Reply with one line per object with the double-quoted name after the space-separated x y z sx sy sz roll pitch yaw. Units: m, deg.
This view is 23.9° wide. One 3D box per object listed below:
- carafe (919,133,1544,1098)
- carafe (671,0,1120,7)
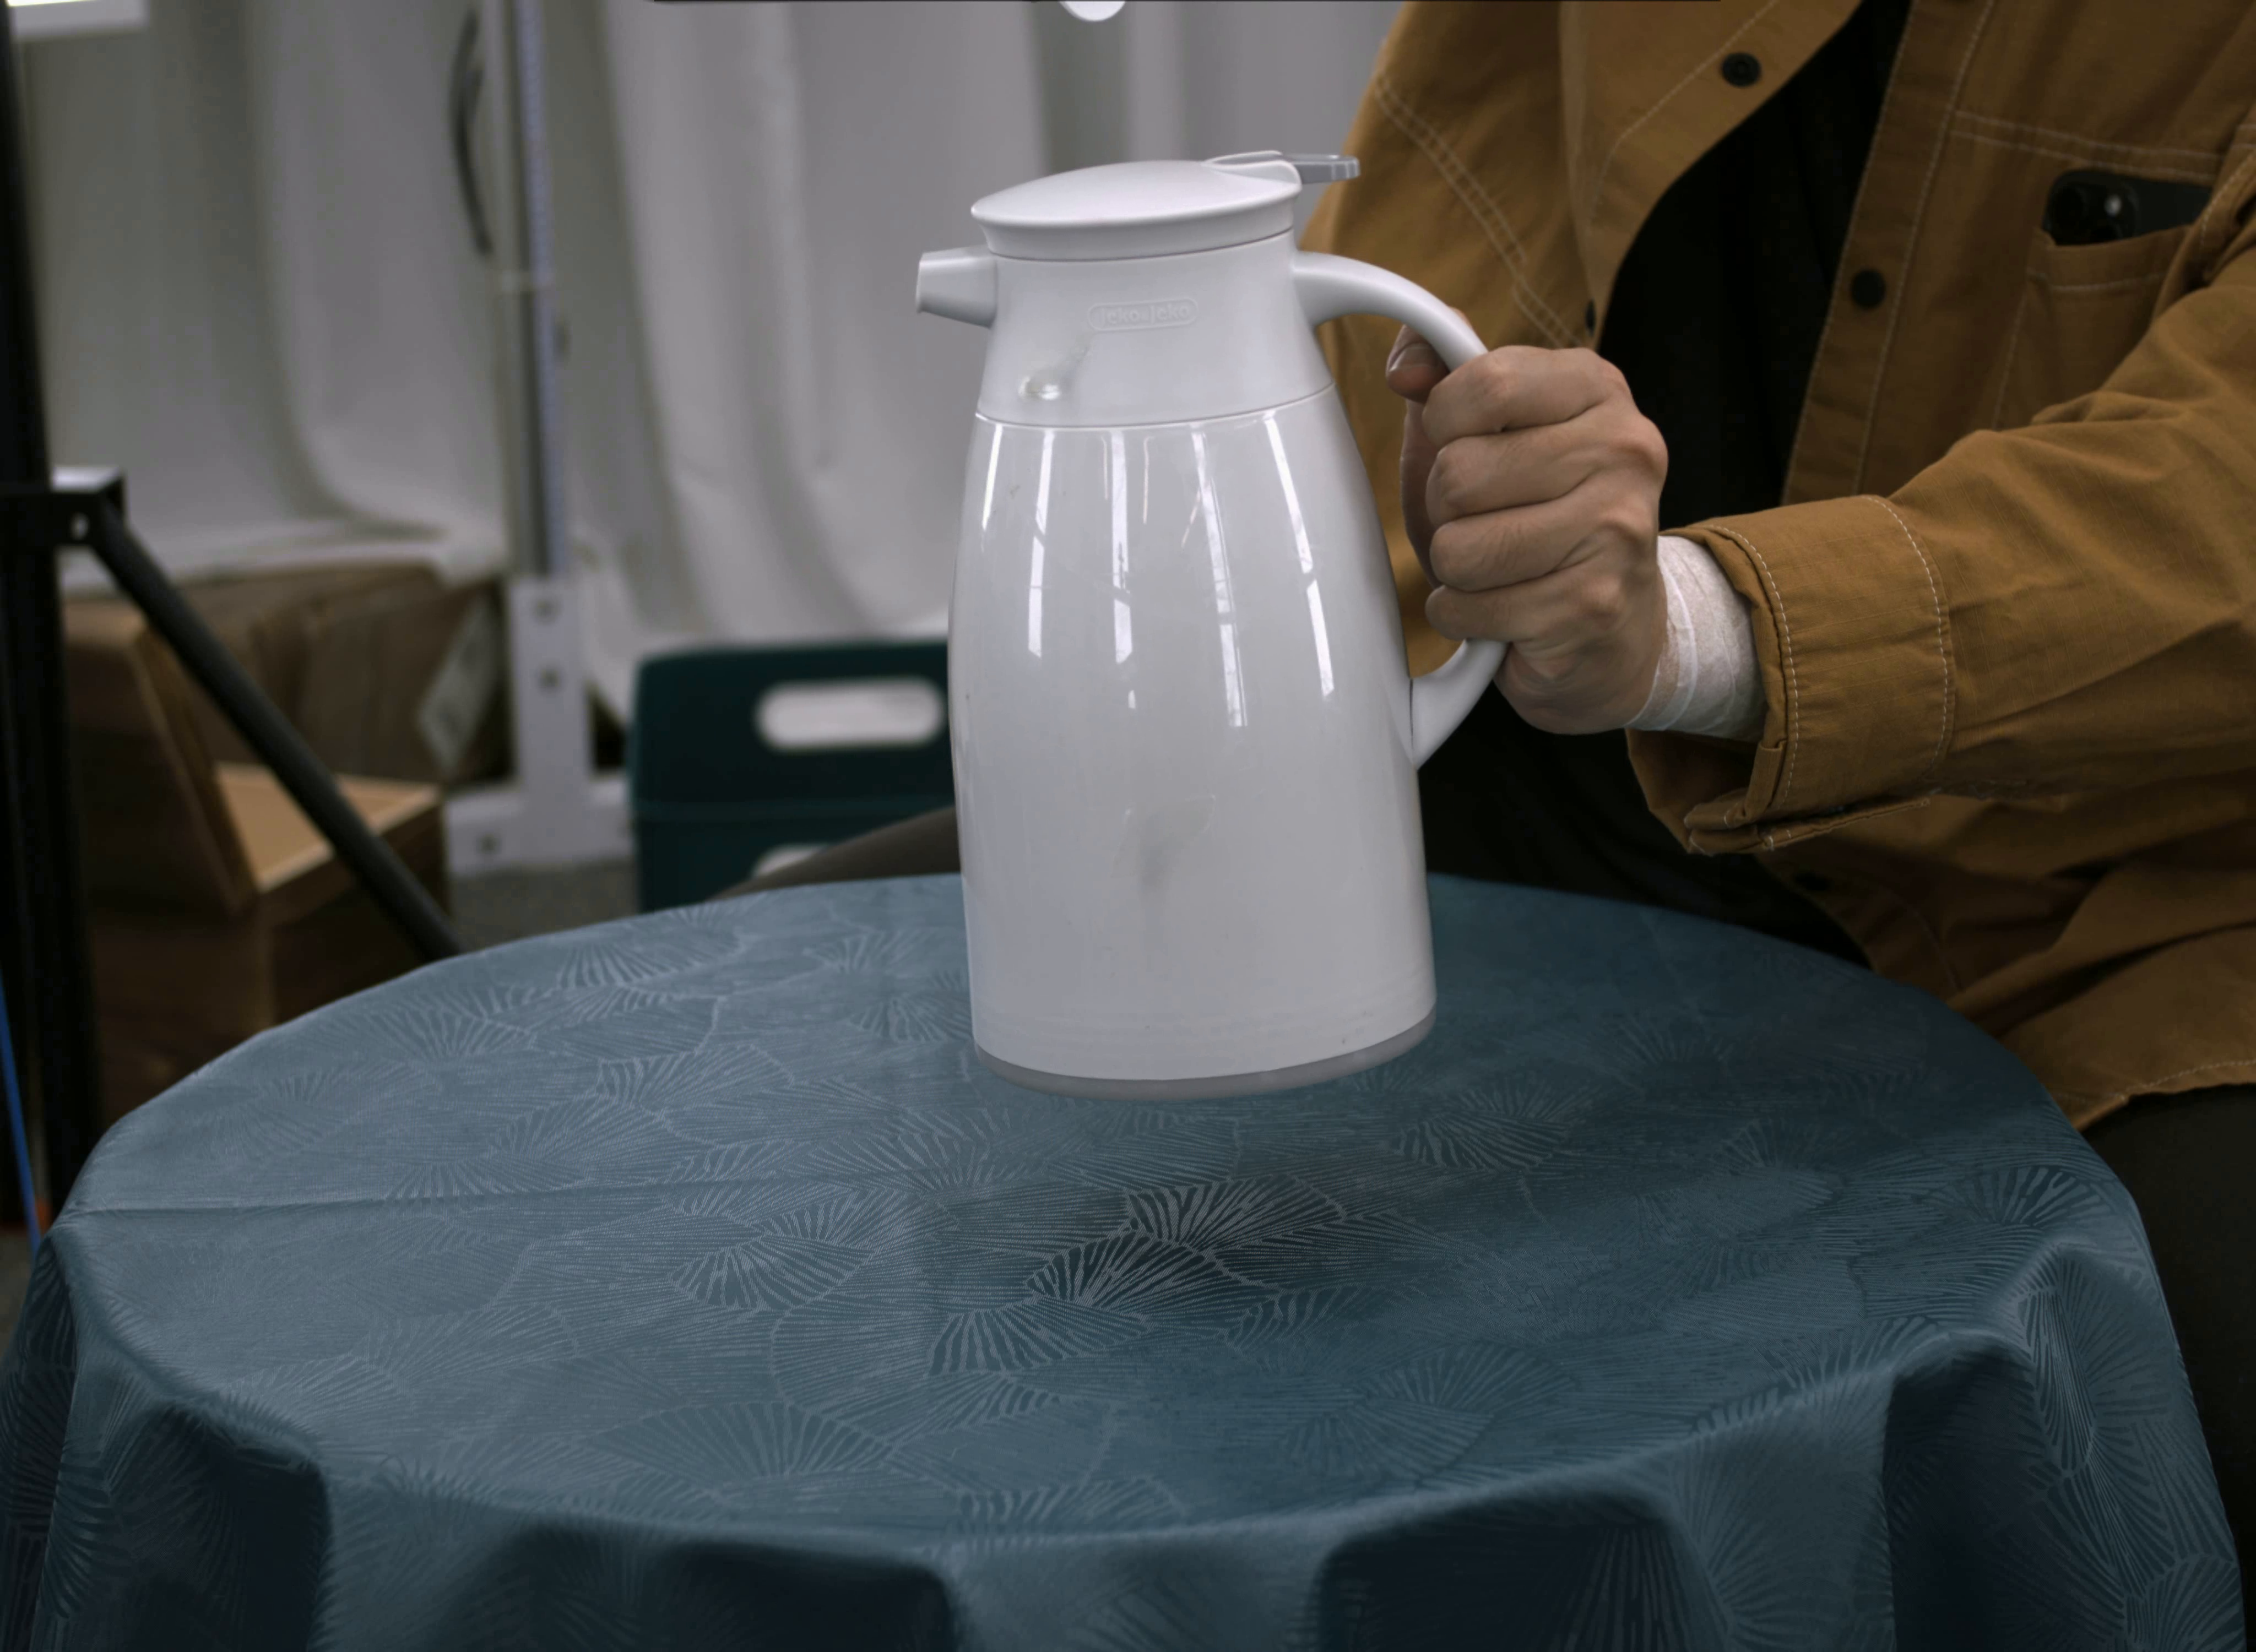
0.033 -0.064 1.471 0.167 0.248 0.133 -4 13 3 "carafe"
-0.087 -0.315 1.543 0.122 0.172 0.274 -25 17 -21 "carafe"
